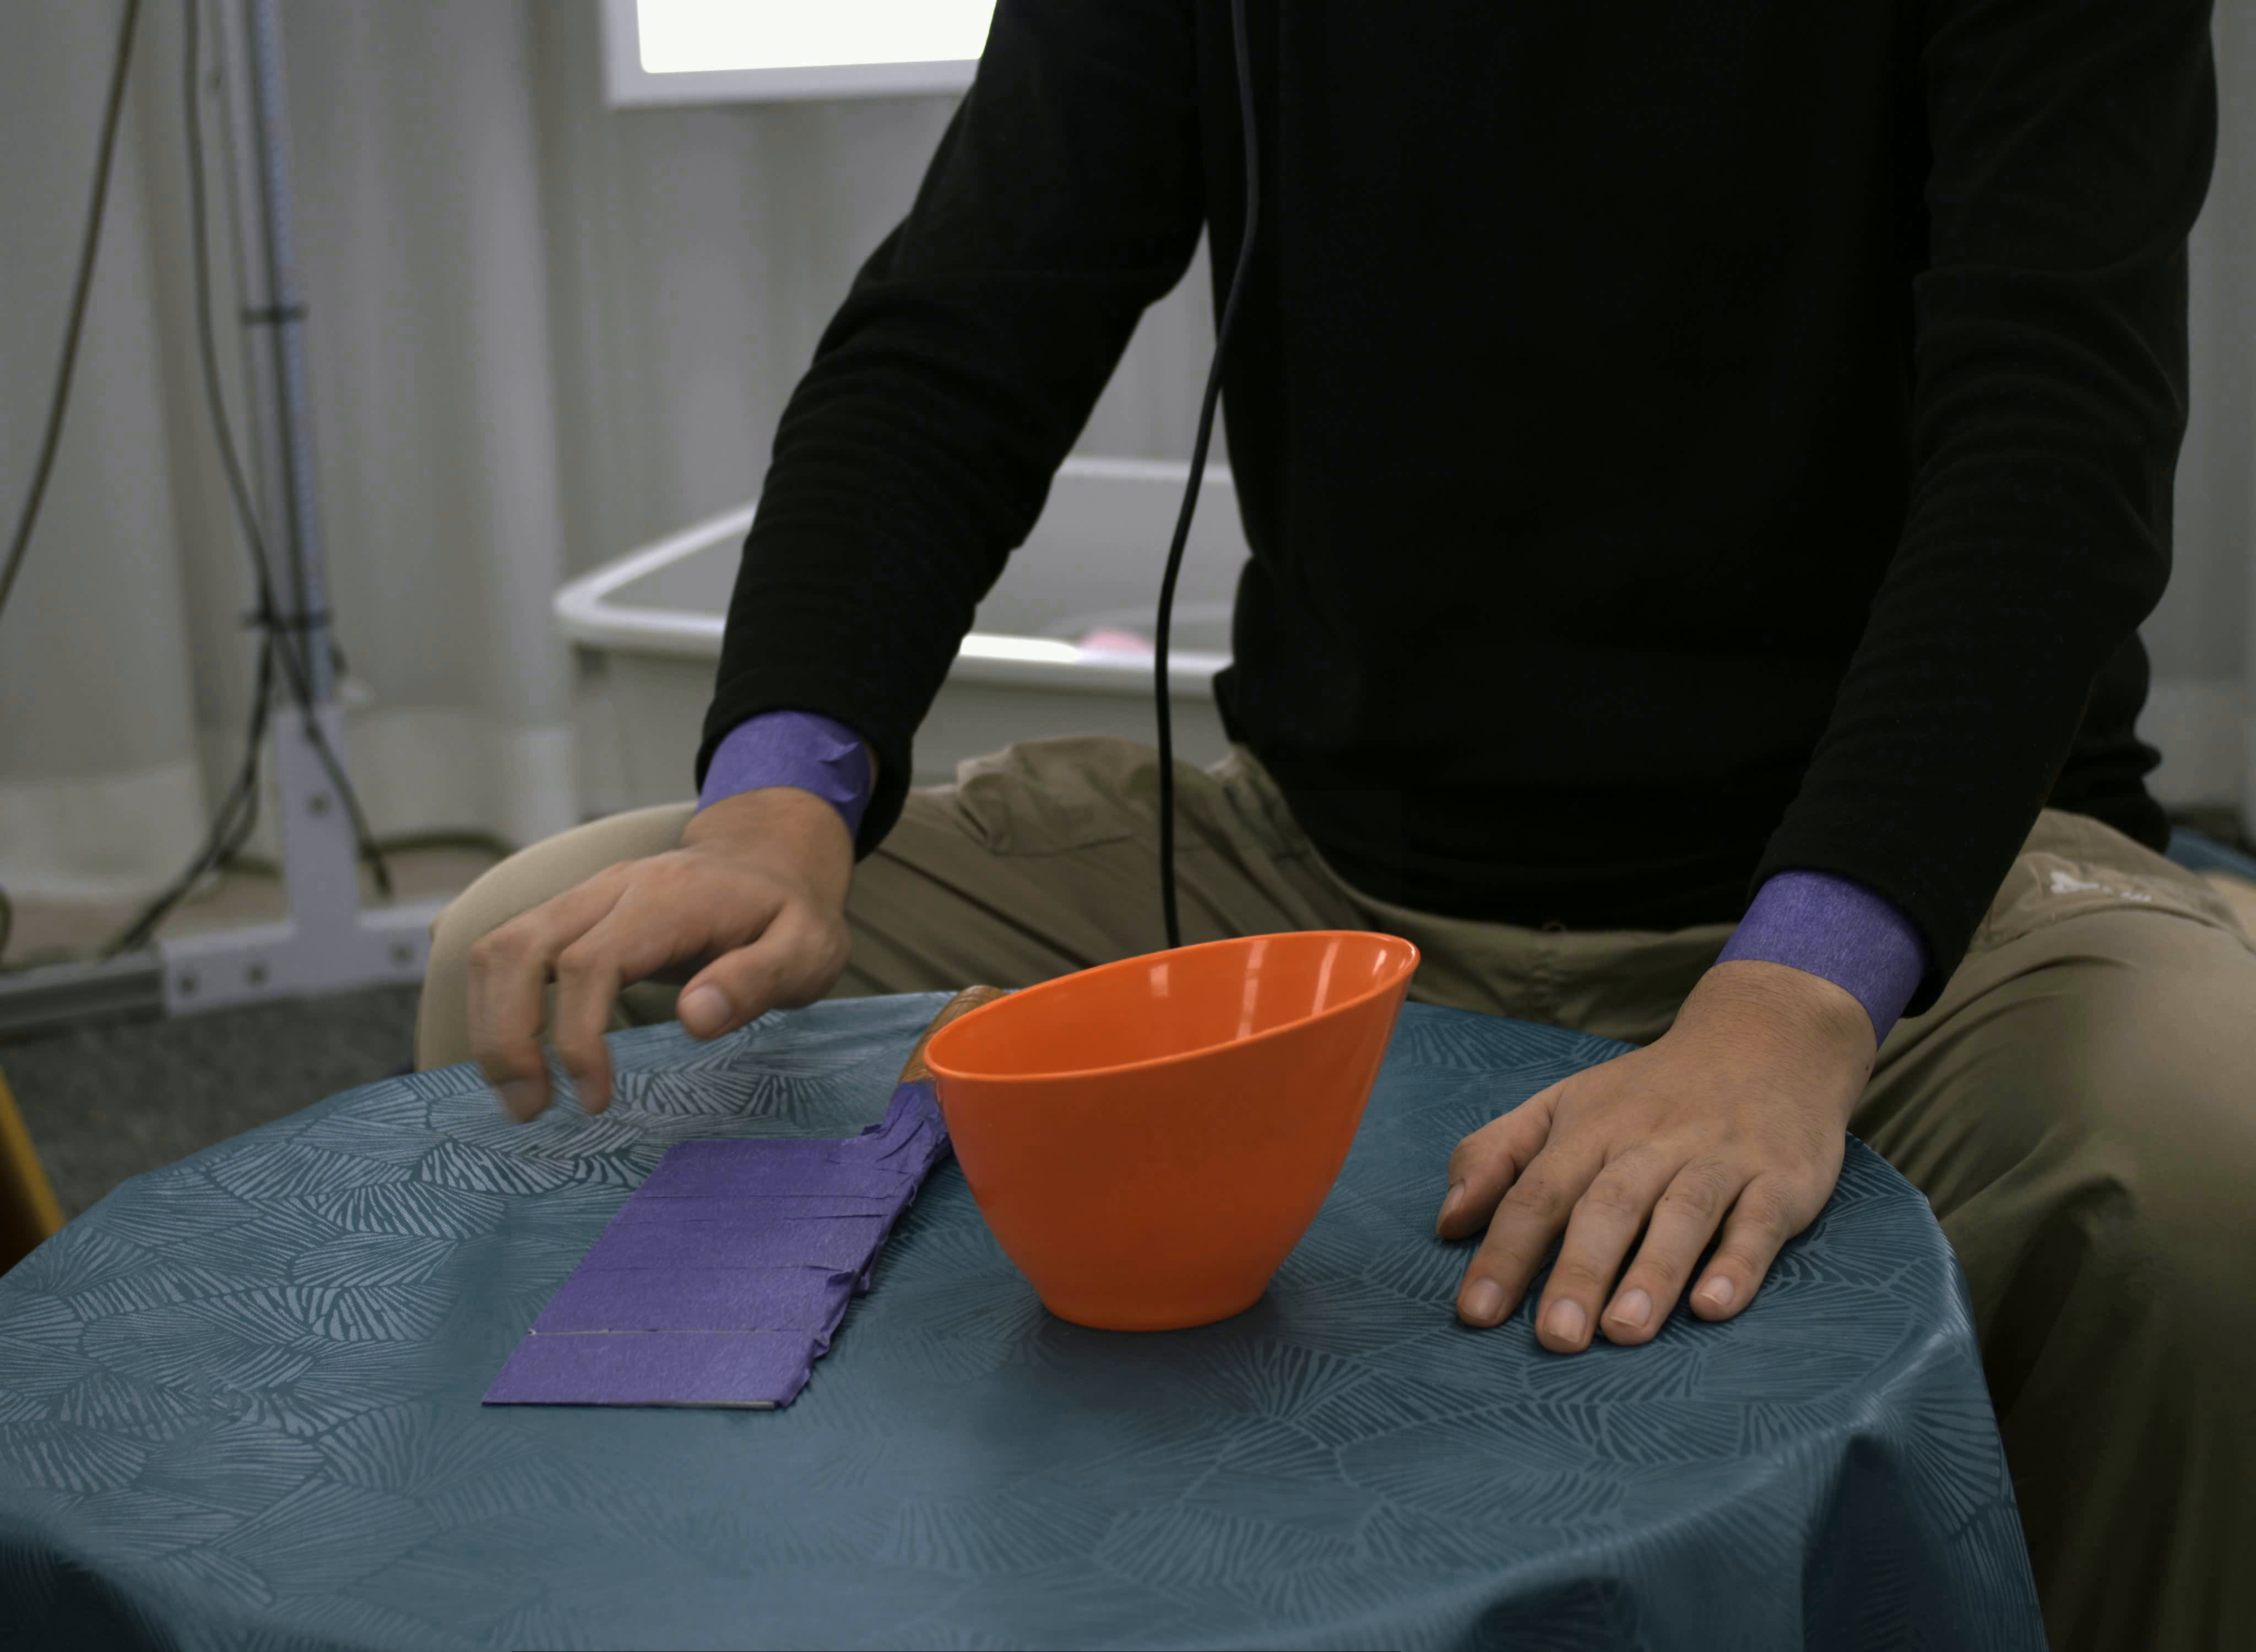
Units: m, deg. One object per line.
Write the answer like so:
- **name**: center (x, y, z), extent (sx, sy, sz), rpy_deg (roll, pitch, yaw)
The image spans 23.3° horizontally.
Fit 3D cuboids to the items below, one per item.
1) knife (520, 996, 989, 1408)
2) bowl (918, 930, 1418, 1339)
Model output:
- **knife**: center (-0.110, 0.113, 1.692), extent (0.104, 0.032, 0.317), rpy_deg (0, 16, 11)
- **bowl**: center (0.014, 0.092, 1.603), extent (0.147, 0.104, 0.149), rpy_deg (-4, 15, 1)
